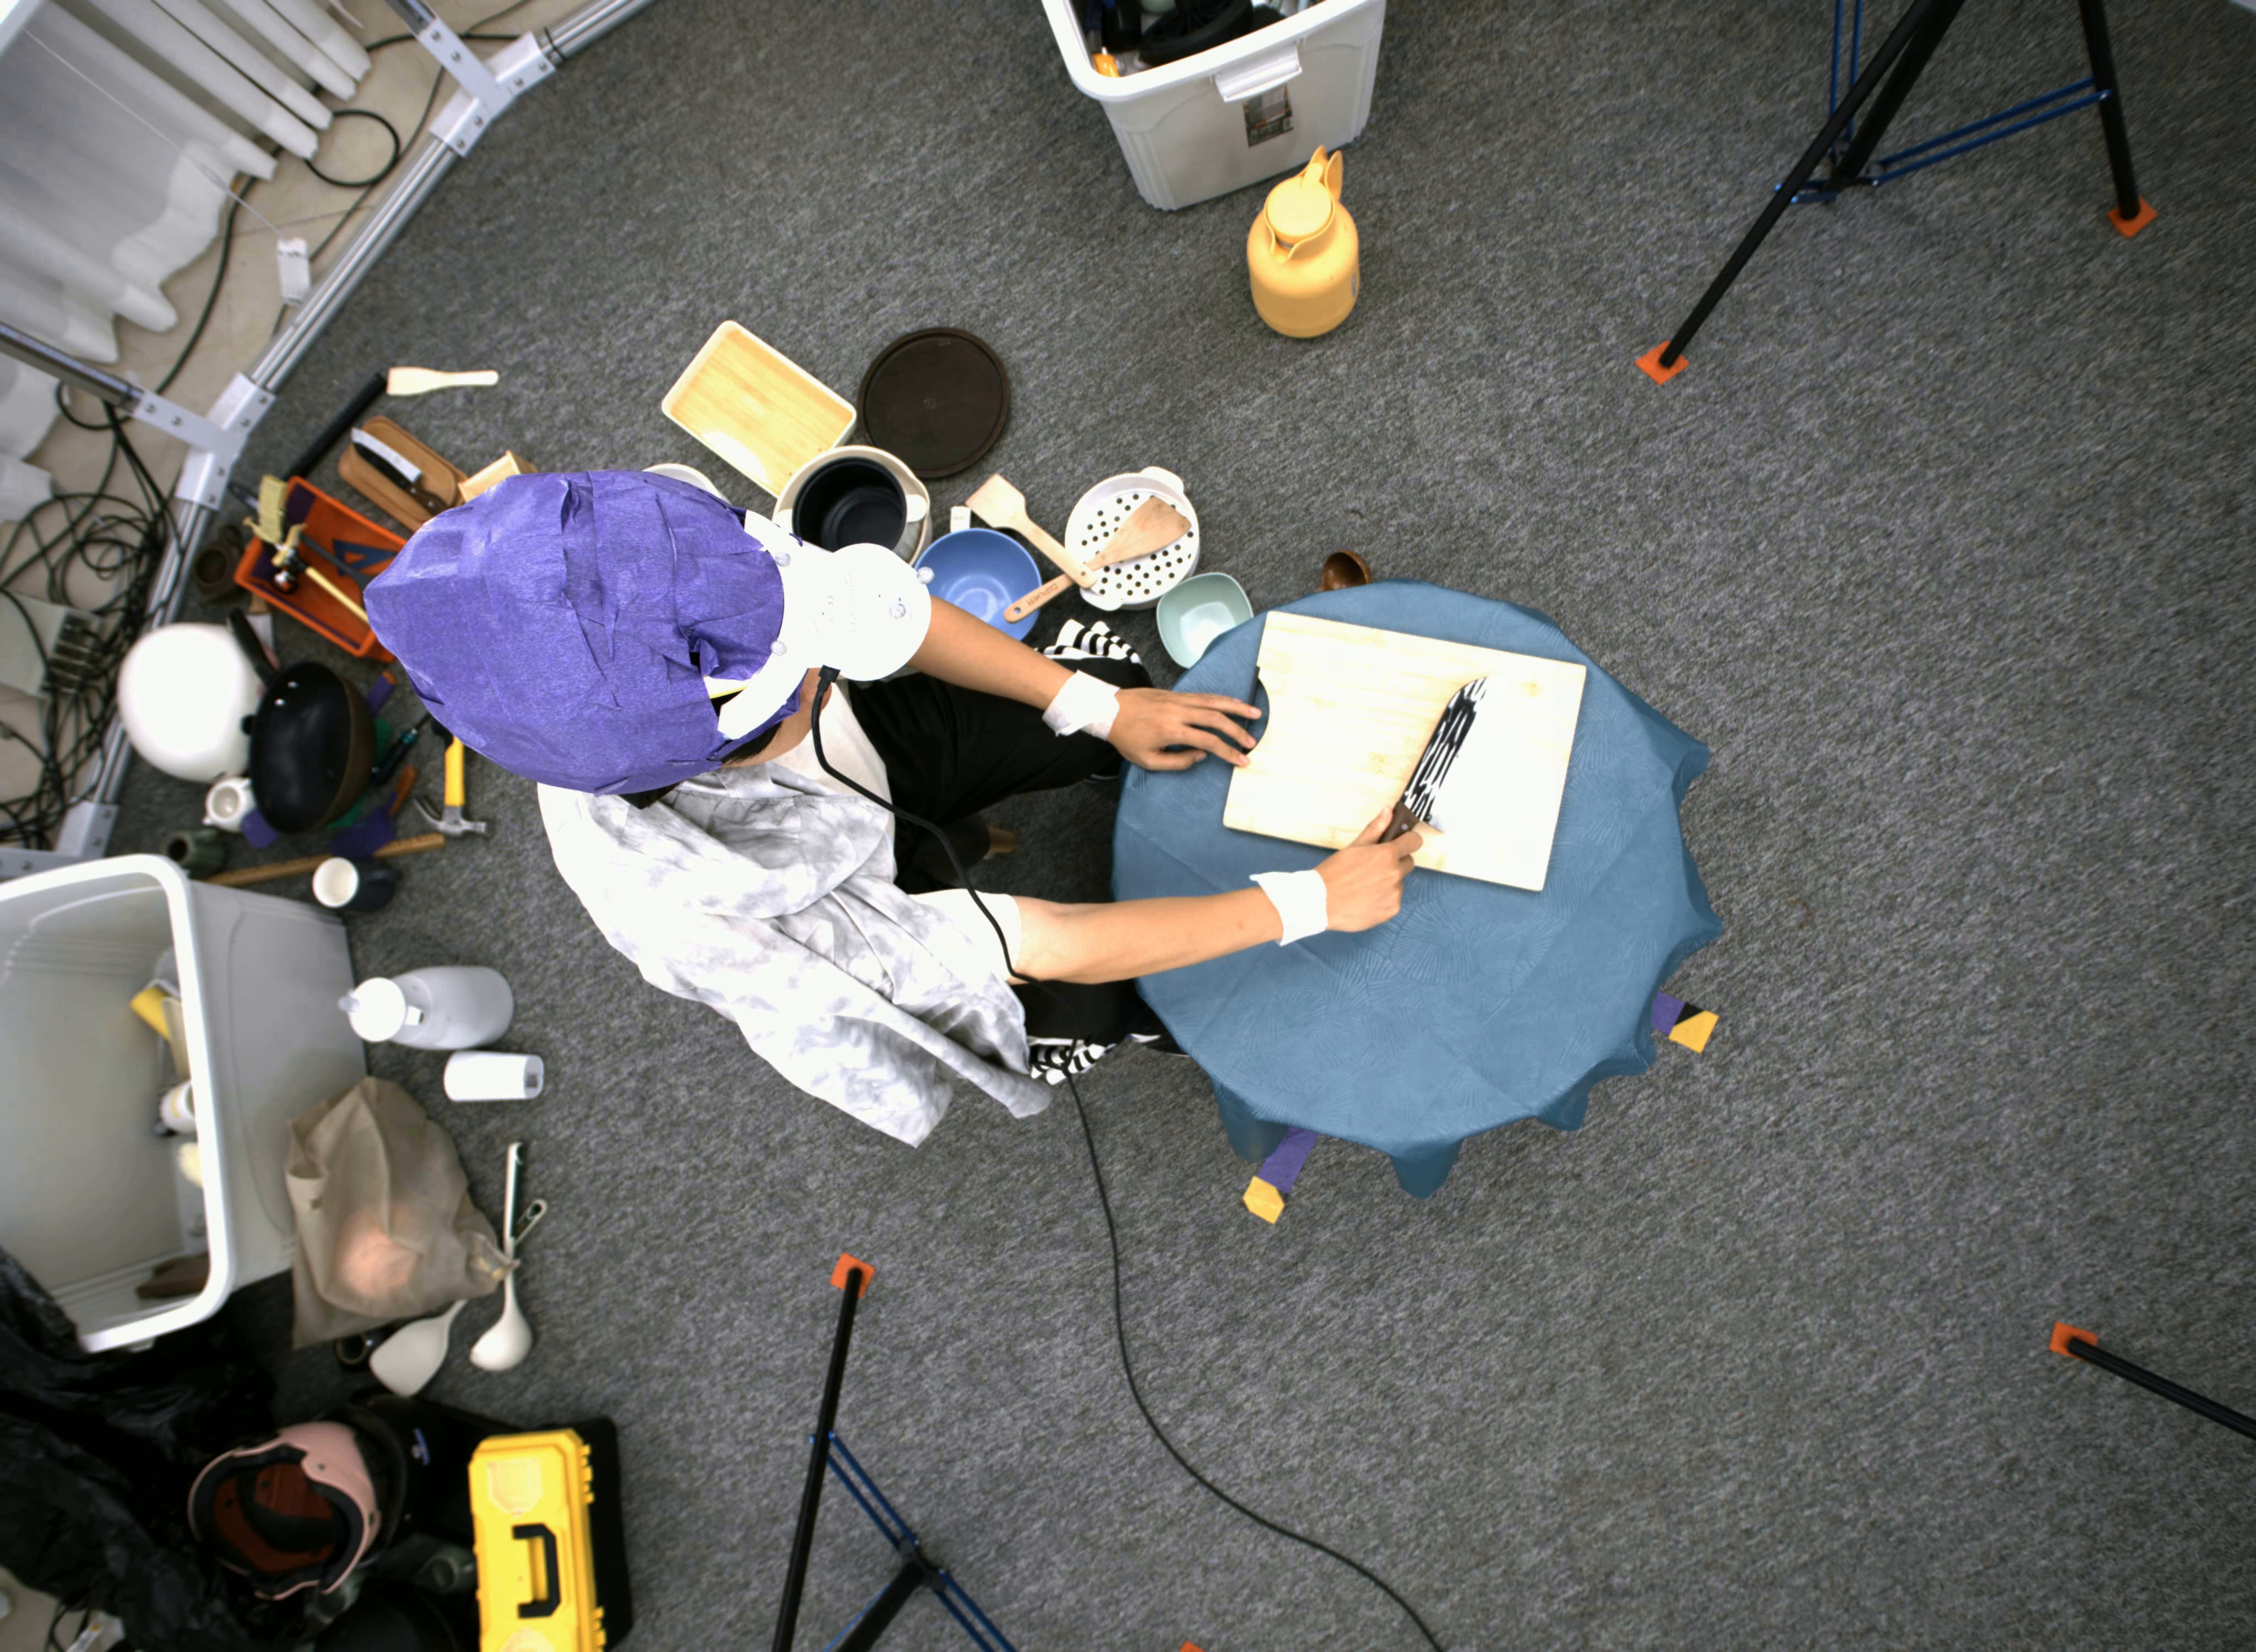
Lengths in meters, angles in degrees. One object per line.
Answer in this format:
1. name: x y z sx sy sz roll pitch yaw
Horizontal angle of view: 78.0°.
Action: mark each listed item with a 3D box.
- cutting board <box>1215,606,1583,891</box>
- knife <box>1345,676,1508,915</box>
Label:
1. cutting board: 0.284 -0.086 1.456 0.349 0.023 0.250 11 89 11
2. knife: 0.309 -0.033 1.409 0.068 0.024 0.298 30 86 -26
